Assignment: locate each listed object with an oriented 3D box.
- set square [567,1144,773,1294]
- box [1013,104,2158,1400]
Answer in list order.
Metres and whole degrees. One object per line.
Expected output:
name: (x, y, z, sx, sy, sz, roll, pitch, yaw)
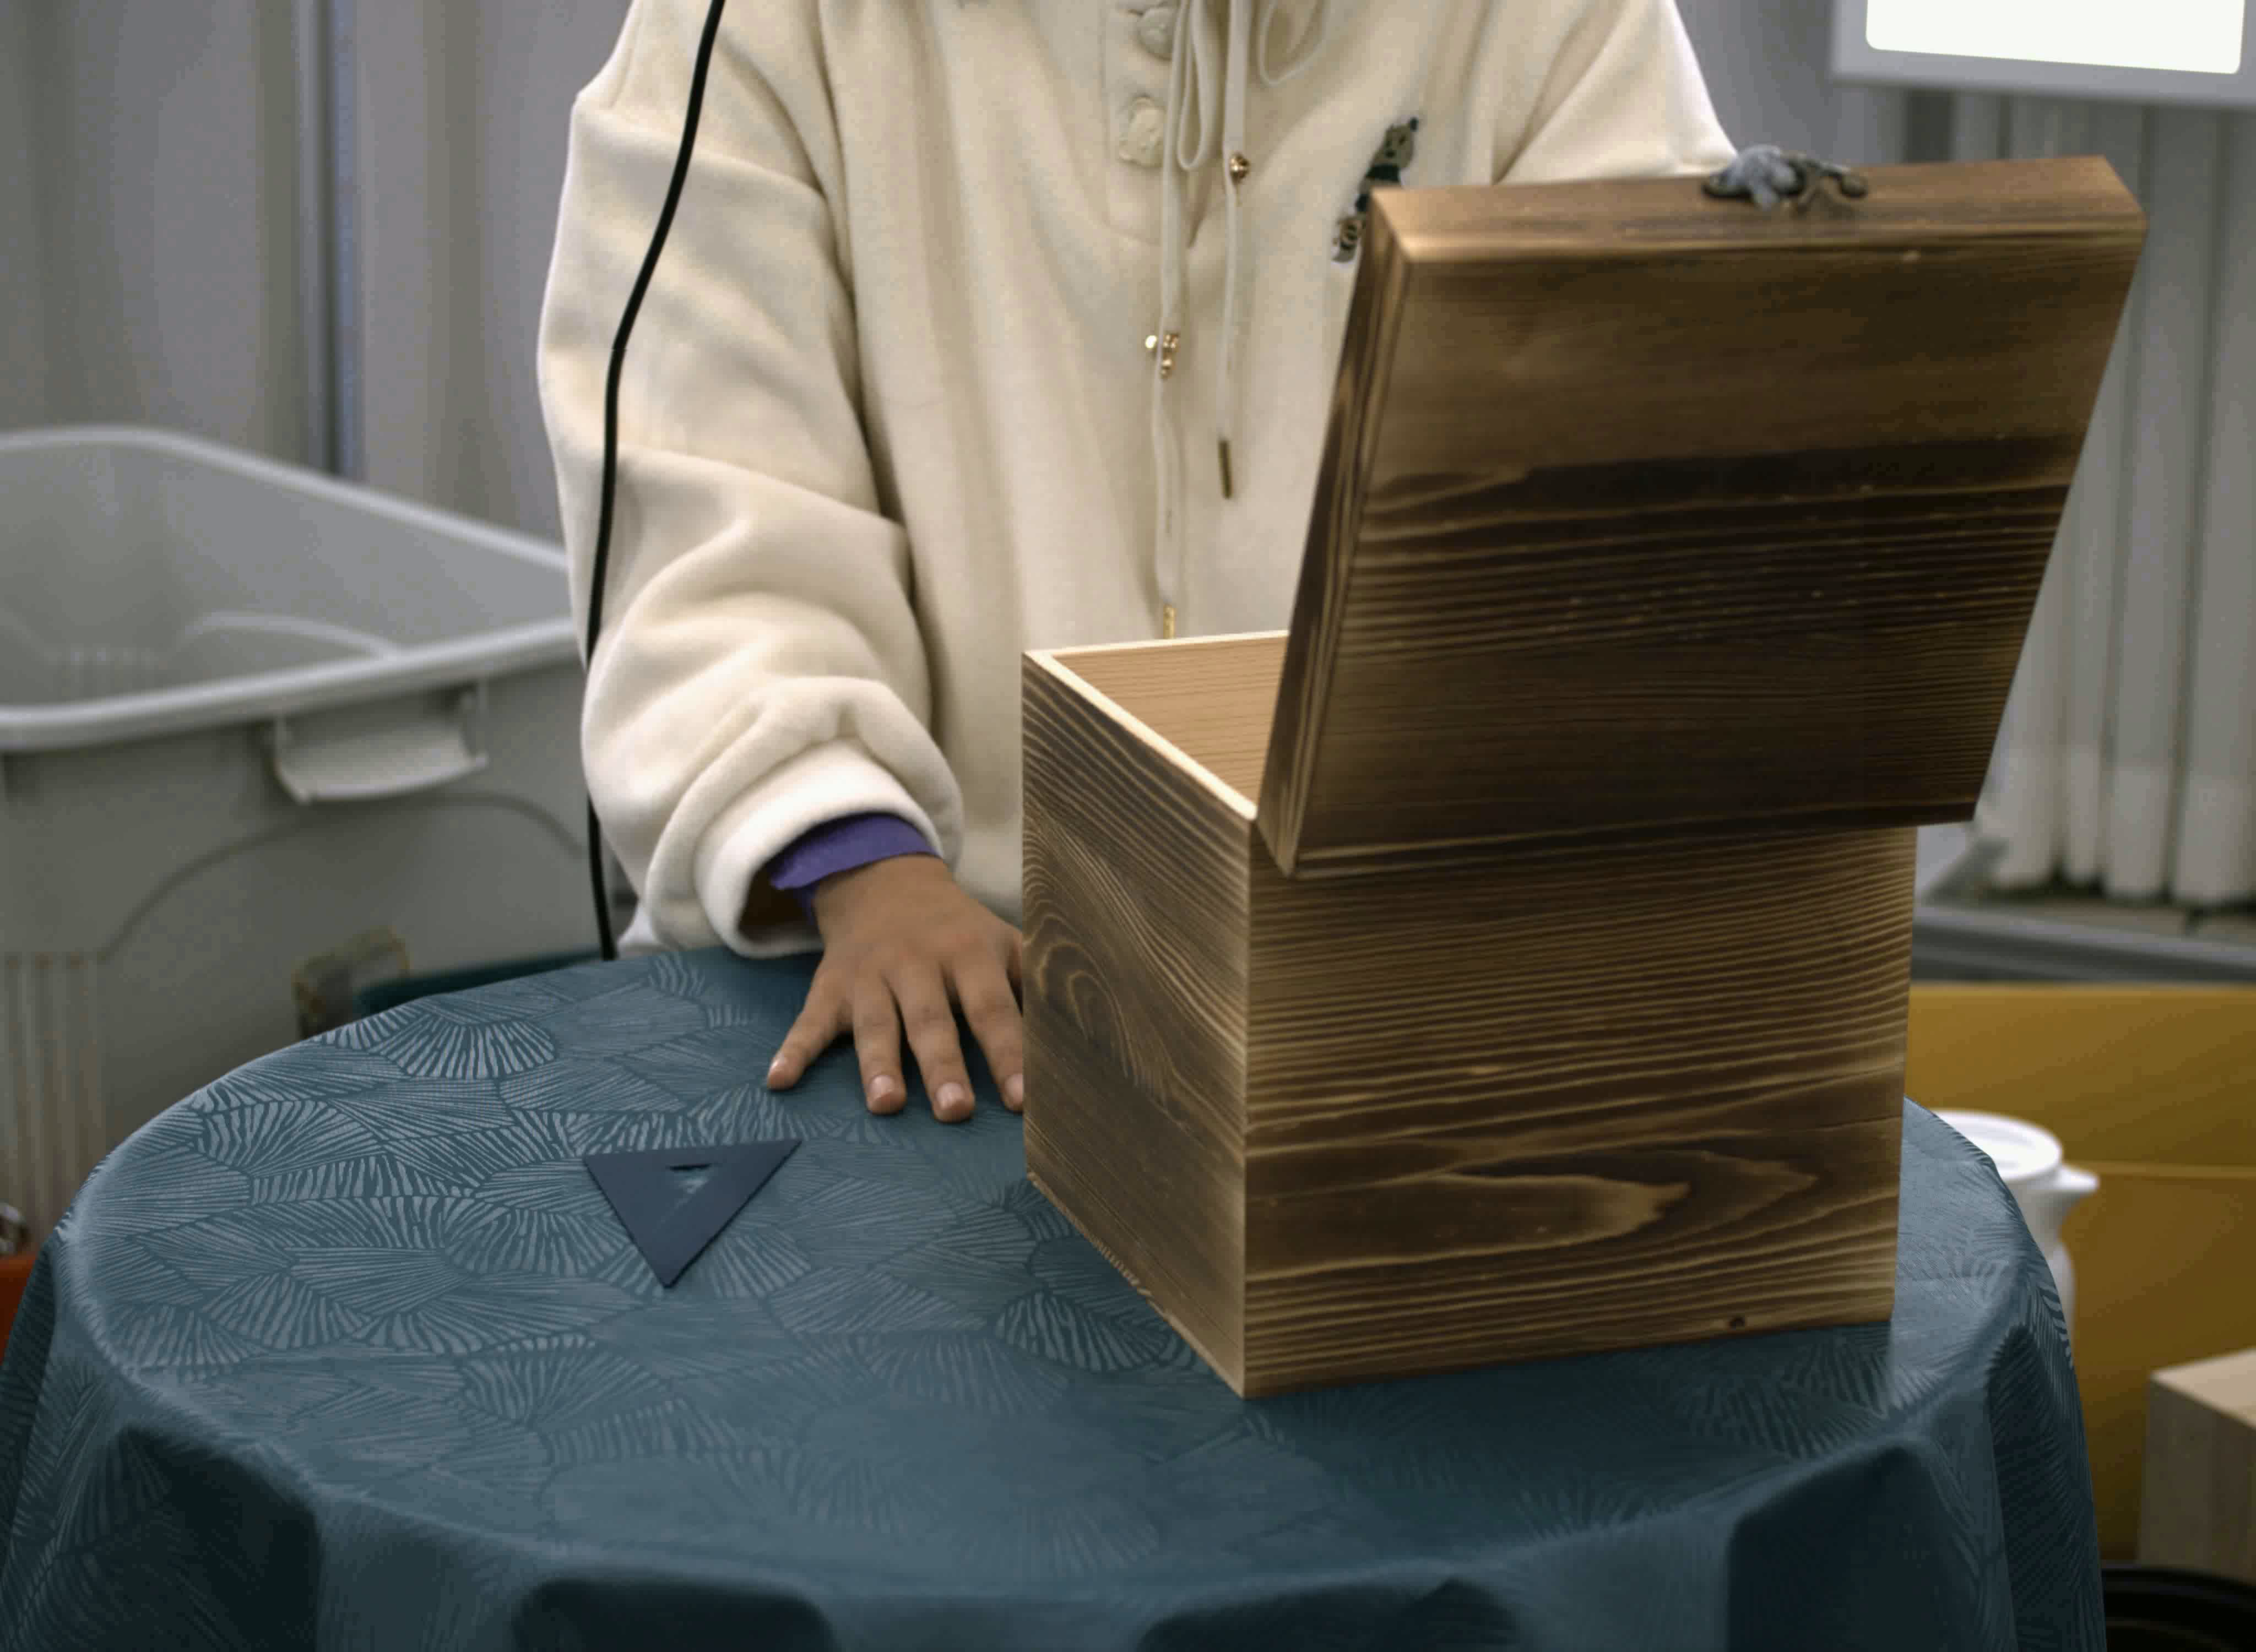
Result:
set square: (-0.156, 0.115, 1.597, 0.060, 0.006, 0.132, 8, 17, 15)
box: (0.113, -0.033, 1.479, 0.209, 0.378, 0.318, -5, 18, -19)
